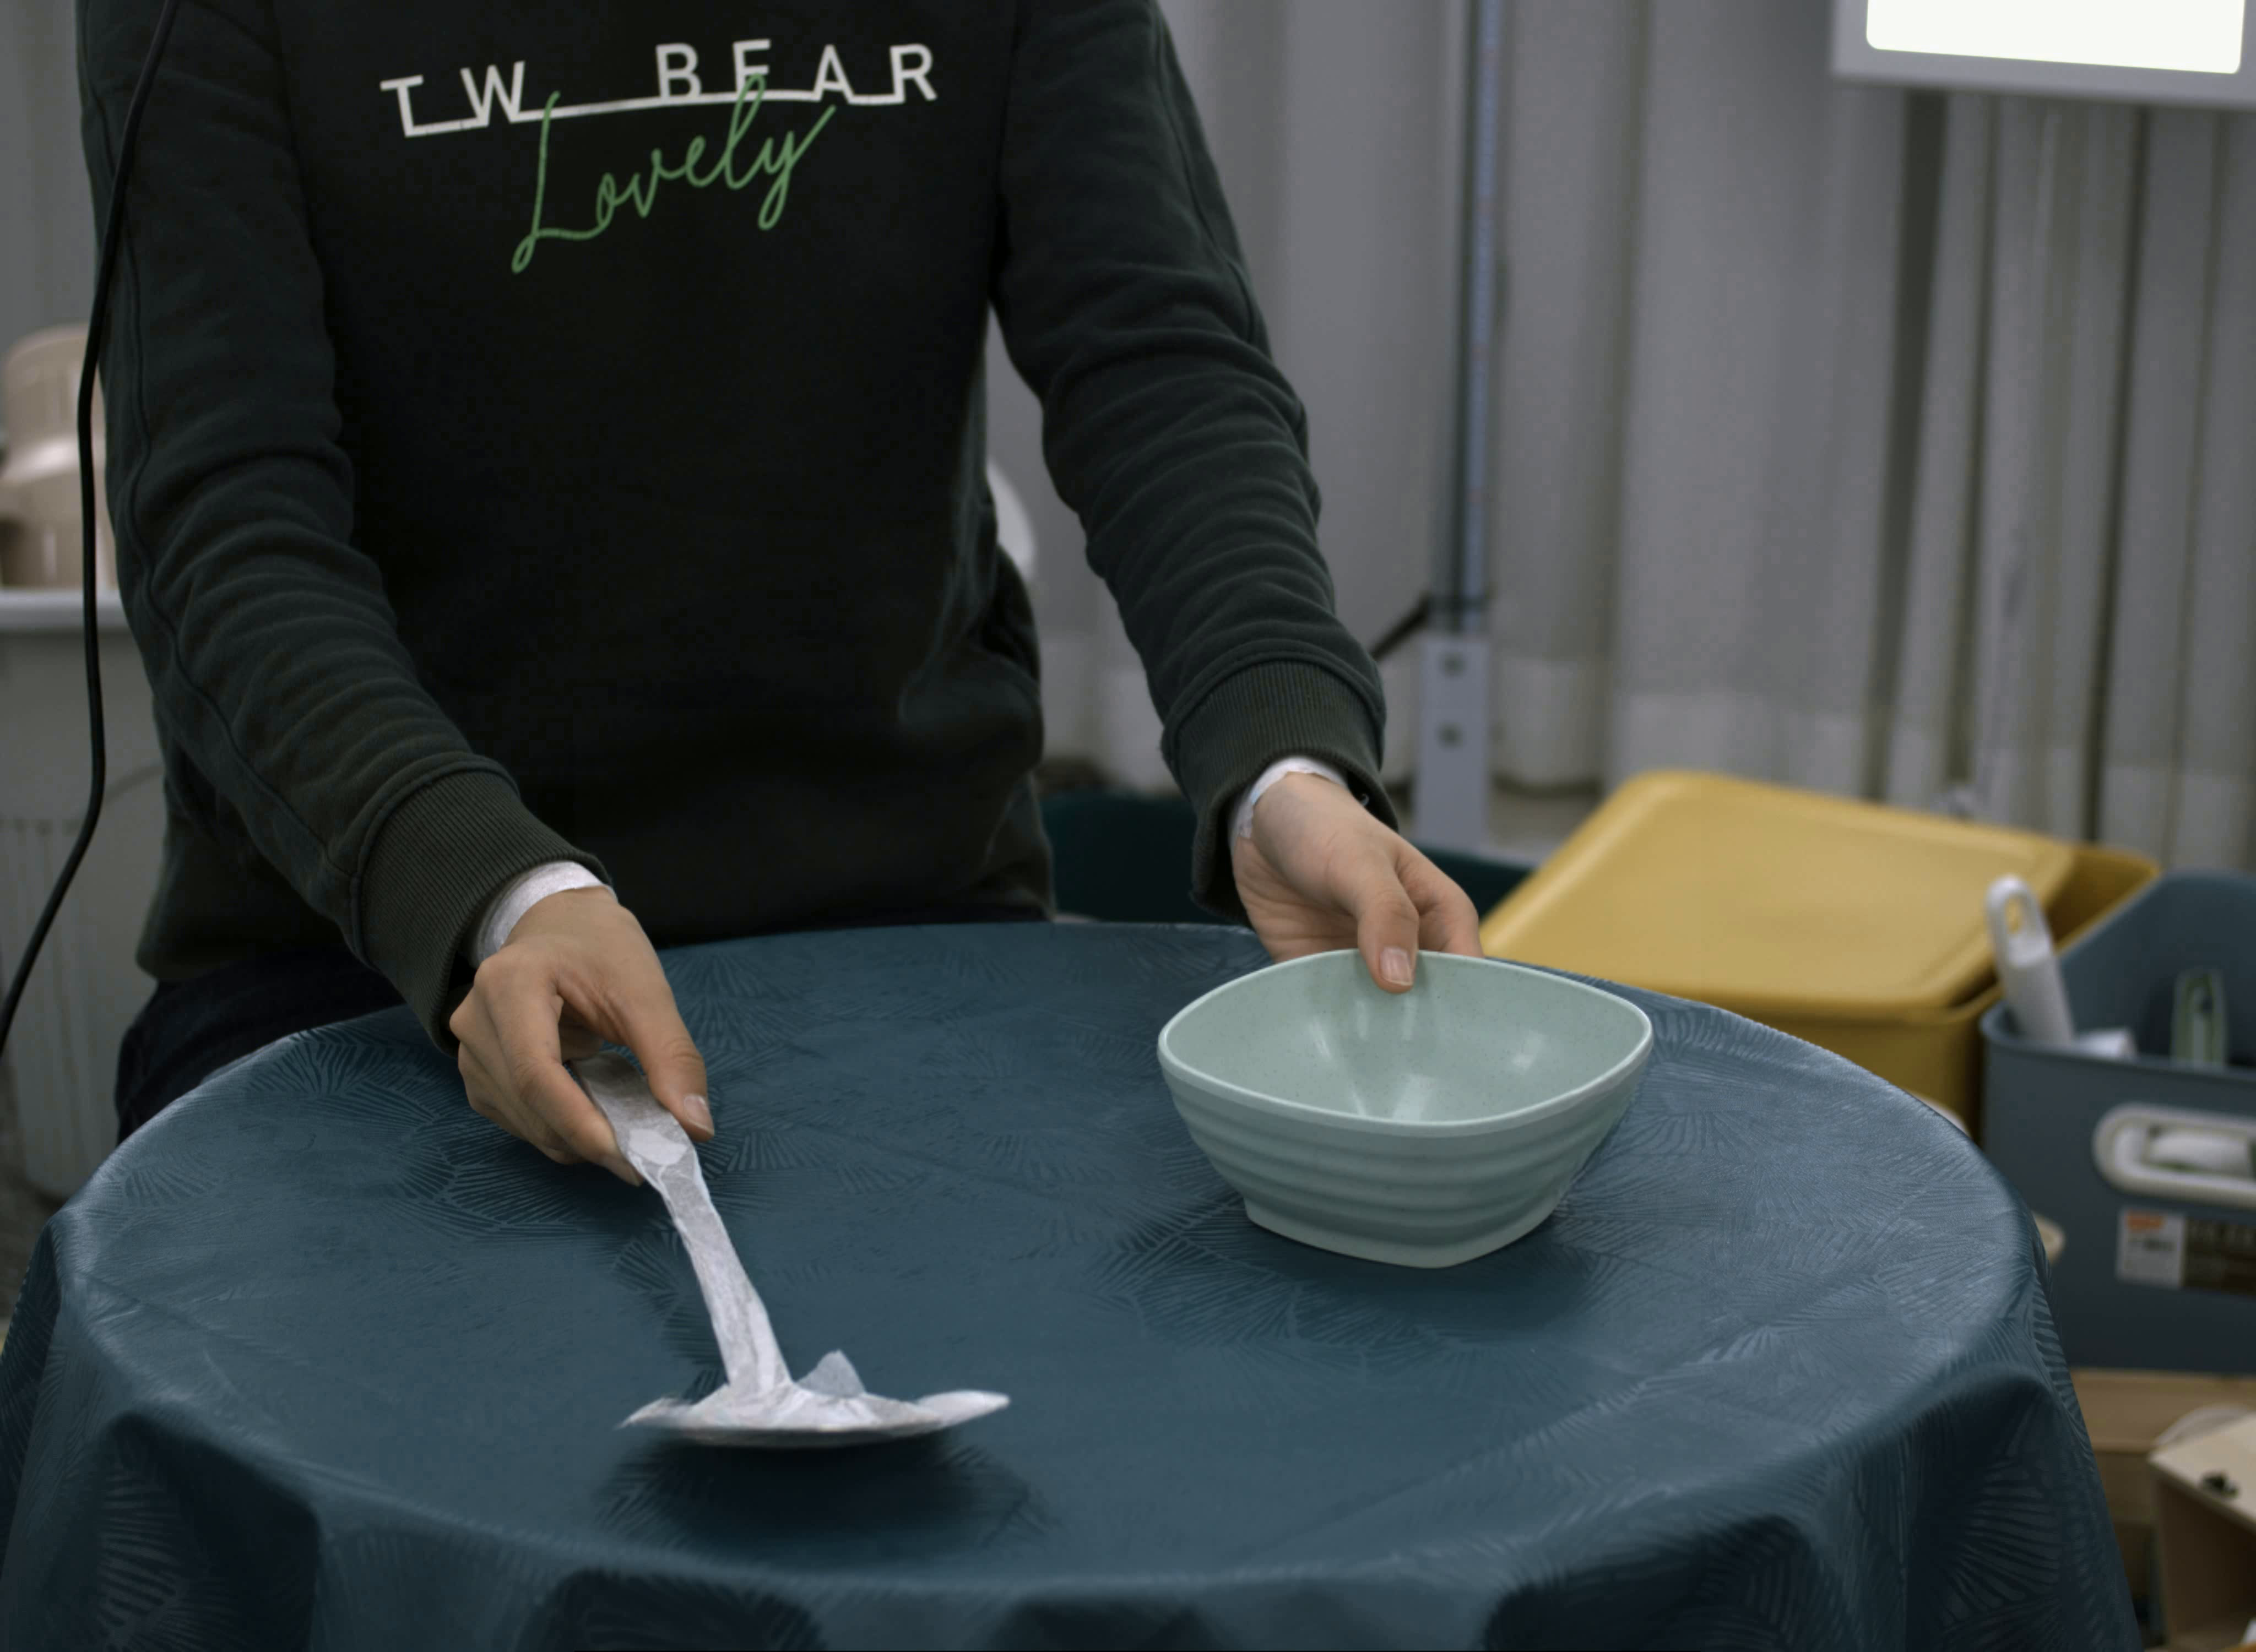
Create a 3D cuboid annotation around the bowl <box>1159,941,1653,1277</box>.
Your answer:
[{"bbox_3d":[0.084,0.090,1.600,0.151,0.059,0.150,2,21,0],"label":"bowl"}]

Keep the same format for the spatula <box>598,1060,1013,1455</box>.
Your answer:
[{"bbox_3d":[-0.118,0.116,1.519,0.099,0.045,0.361,-2,19,-15],"label":"spatula"}]
